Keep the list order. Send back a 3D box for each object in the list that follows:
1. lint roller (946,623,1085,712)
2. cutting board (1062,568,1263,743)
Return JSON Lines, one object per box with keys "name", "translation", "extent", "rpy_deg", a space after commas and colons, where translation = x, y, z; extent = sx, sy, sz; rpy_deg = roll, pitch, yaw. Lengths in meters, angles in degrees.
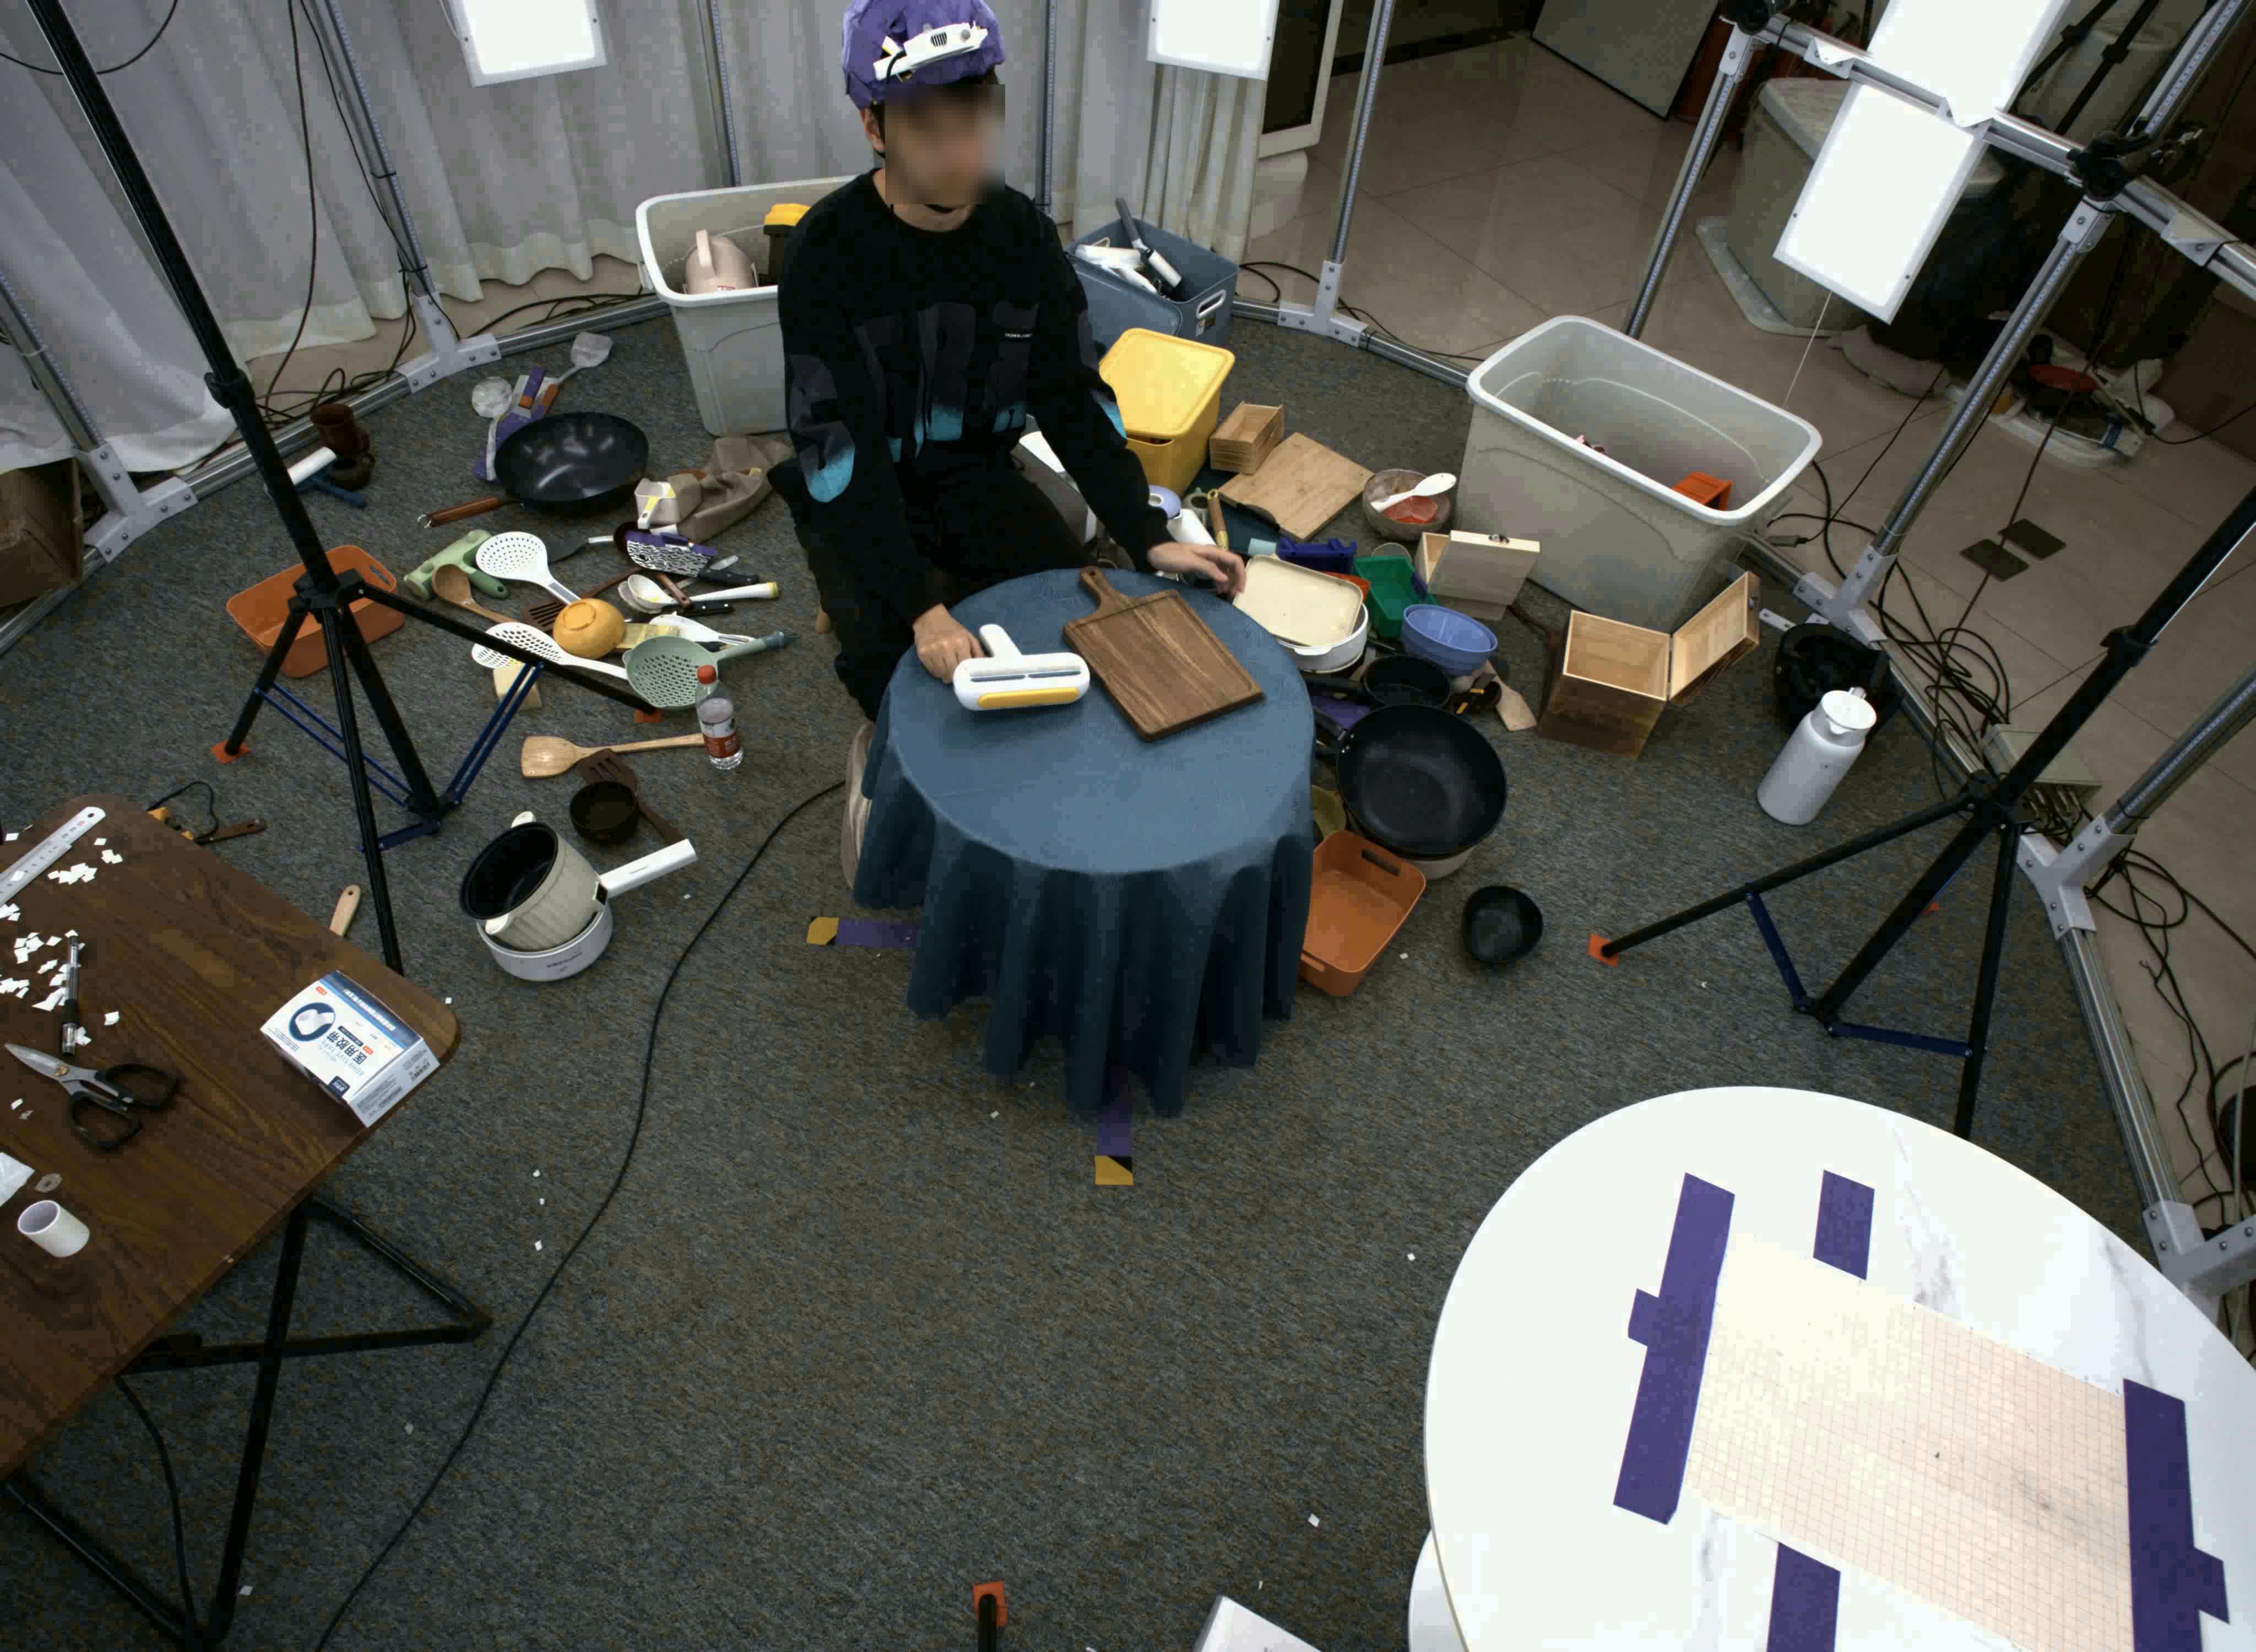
{"name": "lint roller", "translation": [-0.171, -0.237, 1.820], "extent": [0.192, 0.072, 0.197], "rpy_deg": [-7, 48, -16]}
{"name": "cutting board", "translation": [0.023, -0.272, 1.893], "extent": [0.201, 0.022, 0.359], "rpy_deg": [-22, 54, -21]}
